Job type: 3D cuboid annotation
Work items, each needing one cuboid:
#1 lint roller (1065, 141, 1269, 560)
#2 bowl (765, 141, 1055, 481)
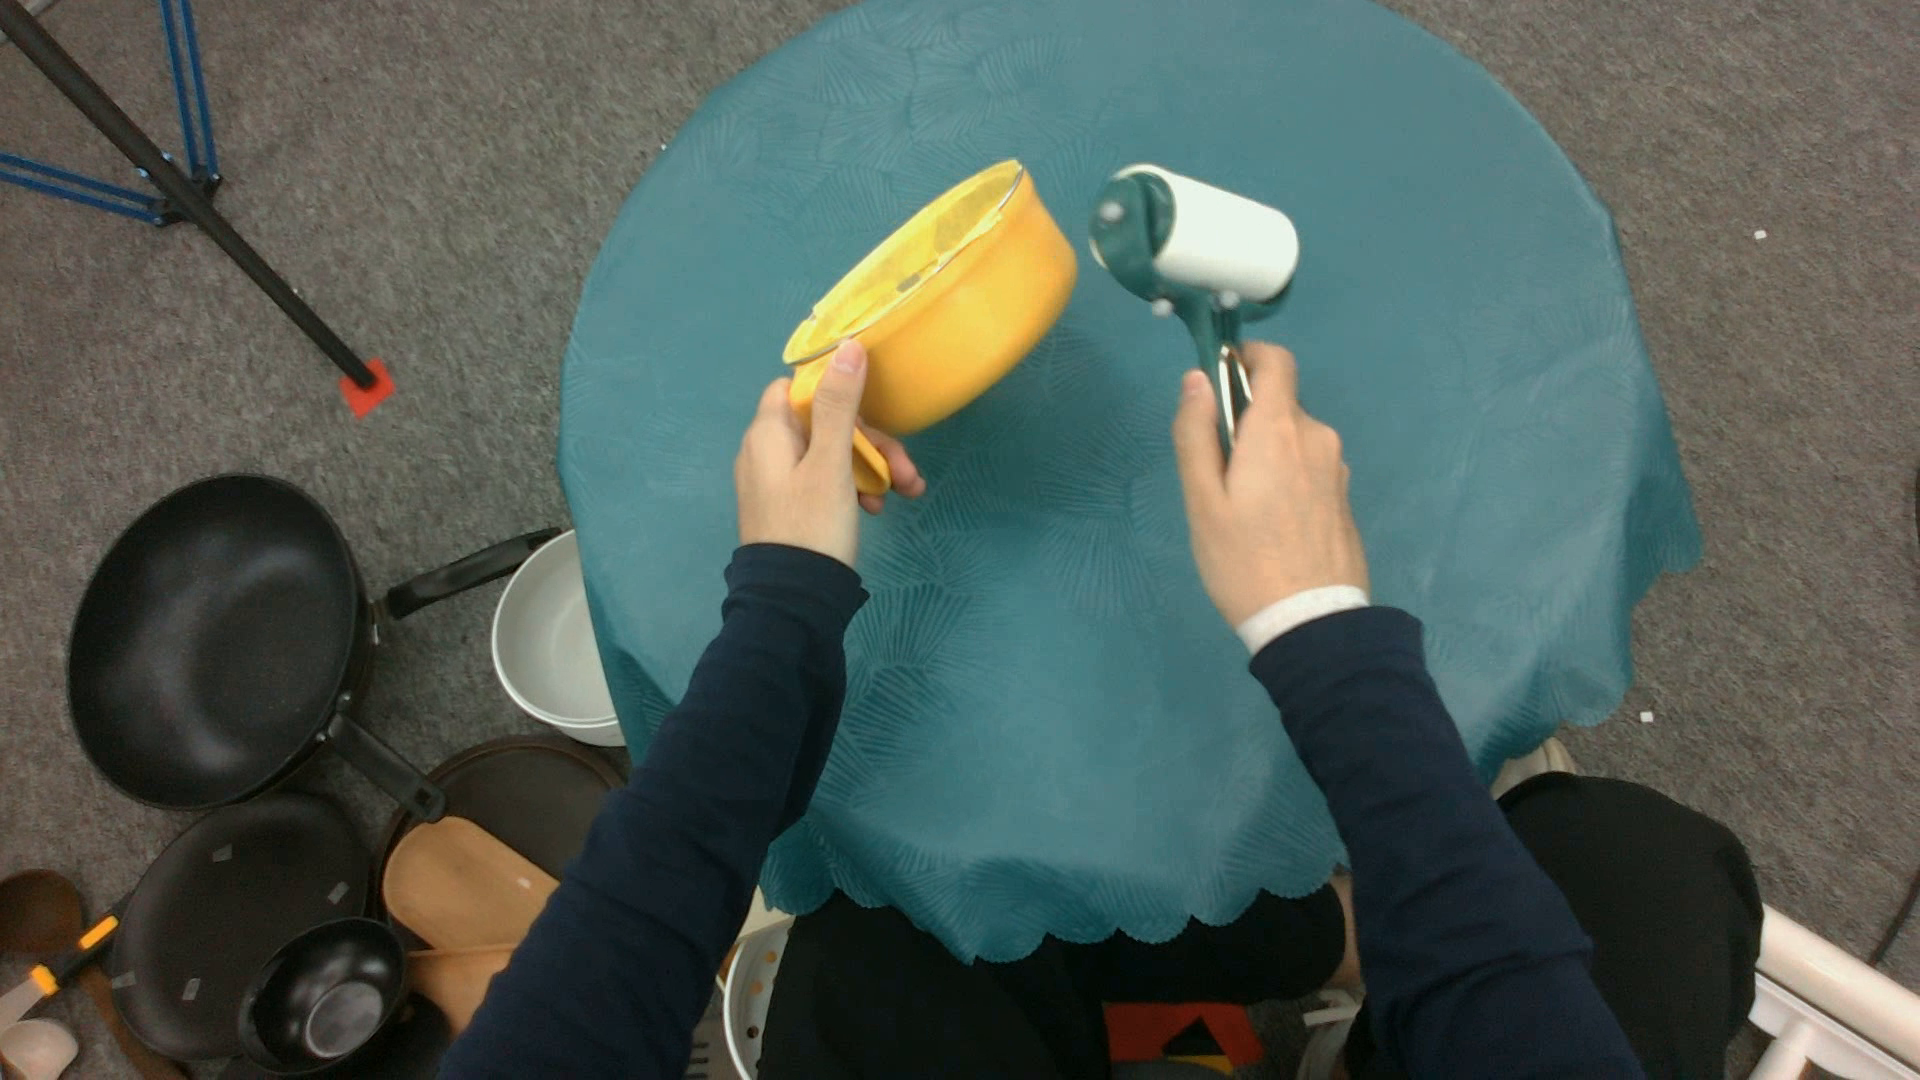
[{"bbox_3d":[0.112,-0.083,0.612,0.048,0.135,0.180,-25,75,39],"label":"lint roller"},{"bbox_3d":[-0.028,-0.113,0.683,0.152,0.074,0.180,-19,30,43],"label":"bowl"}]
